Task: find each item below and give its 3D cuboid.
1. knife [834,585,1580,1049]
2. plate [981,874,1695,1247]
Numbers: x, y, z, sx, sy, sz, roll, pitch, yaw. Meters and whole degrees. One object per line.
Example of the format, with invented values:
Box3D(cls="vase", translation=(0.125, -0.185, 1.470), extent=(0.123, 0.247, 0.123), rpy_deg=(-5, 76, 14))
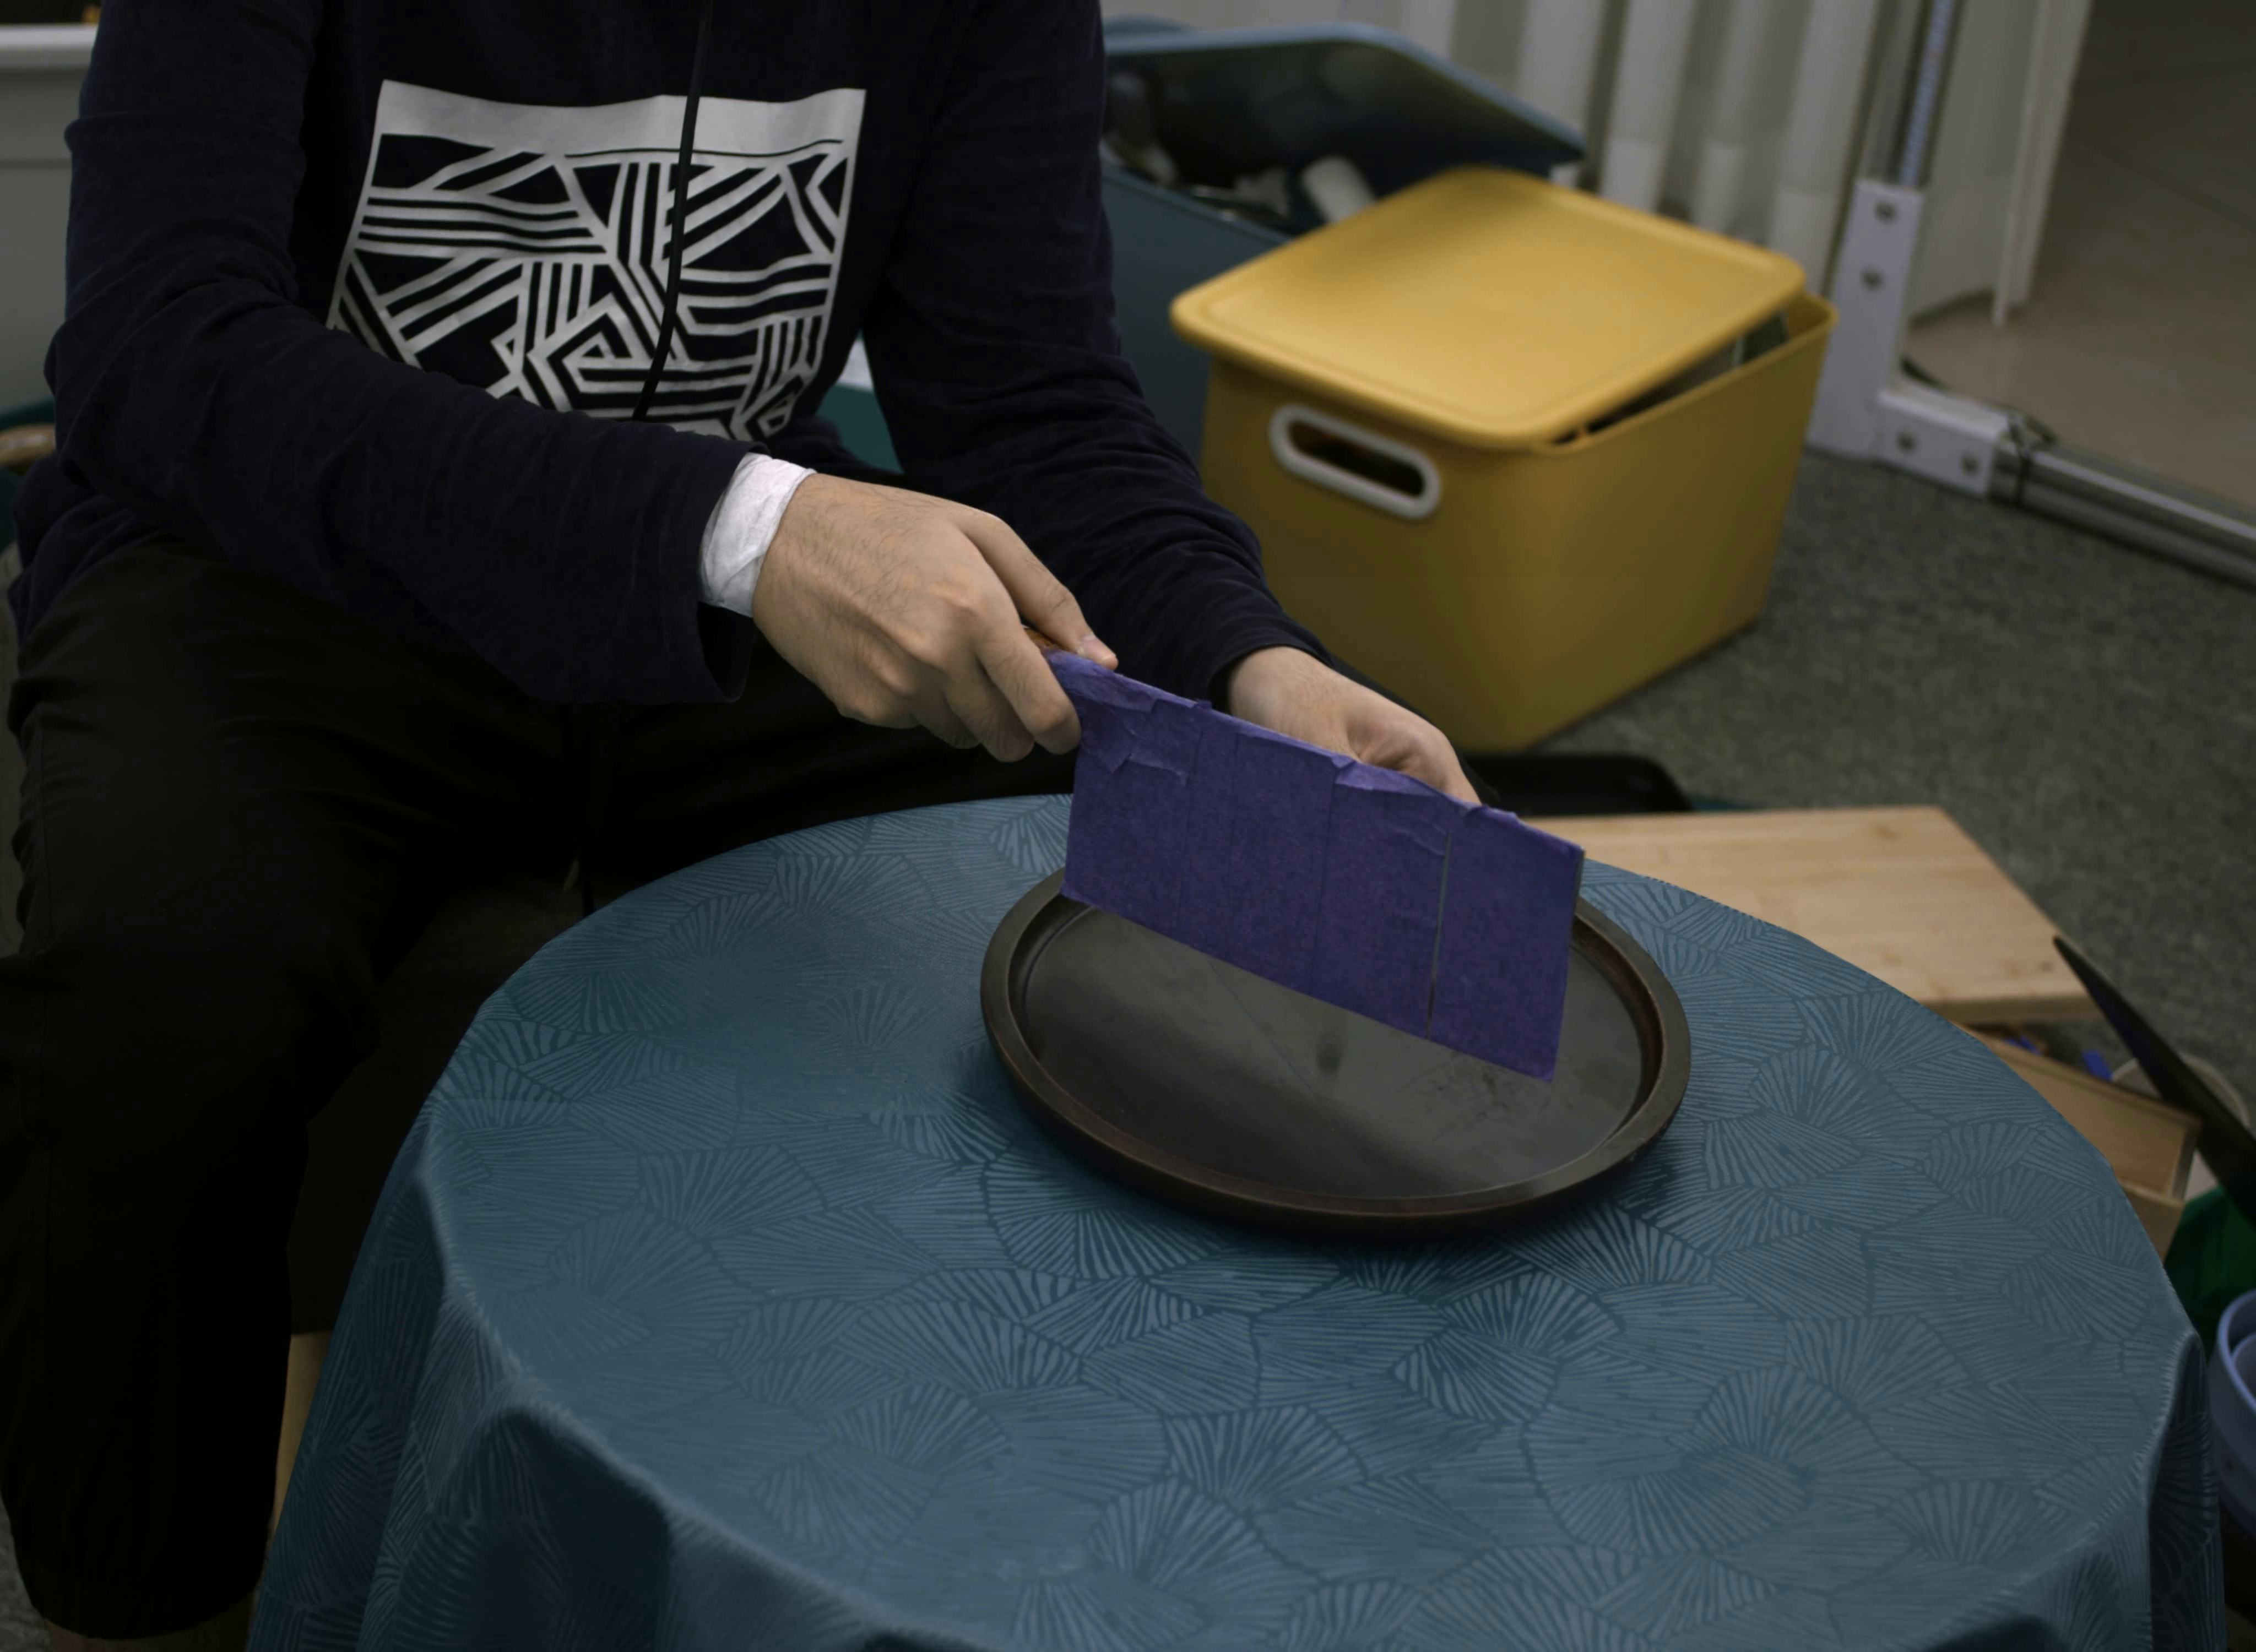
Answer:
Box3D(cls="knife", translation=(0.021, -0.001, 1.859), extent=(0.317, 0.103, 0.032), rpy_deg=(21, 25, 34))
Box3D(cls="plate", translation=(0.073, 0.072, 1.880), extent=(0.254, 0.029, 0.256), rpy_deg=(4, 31, -3))
